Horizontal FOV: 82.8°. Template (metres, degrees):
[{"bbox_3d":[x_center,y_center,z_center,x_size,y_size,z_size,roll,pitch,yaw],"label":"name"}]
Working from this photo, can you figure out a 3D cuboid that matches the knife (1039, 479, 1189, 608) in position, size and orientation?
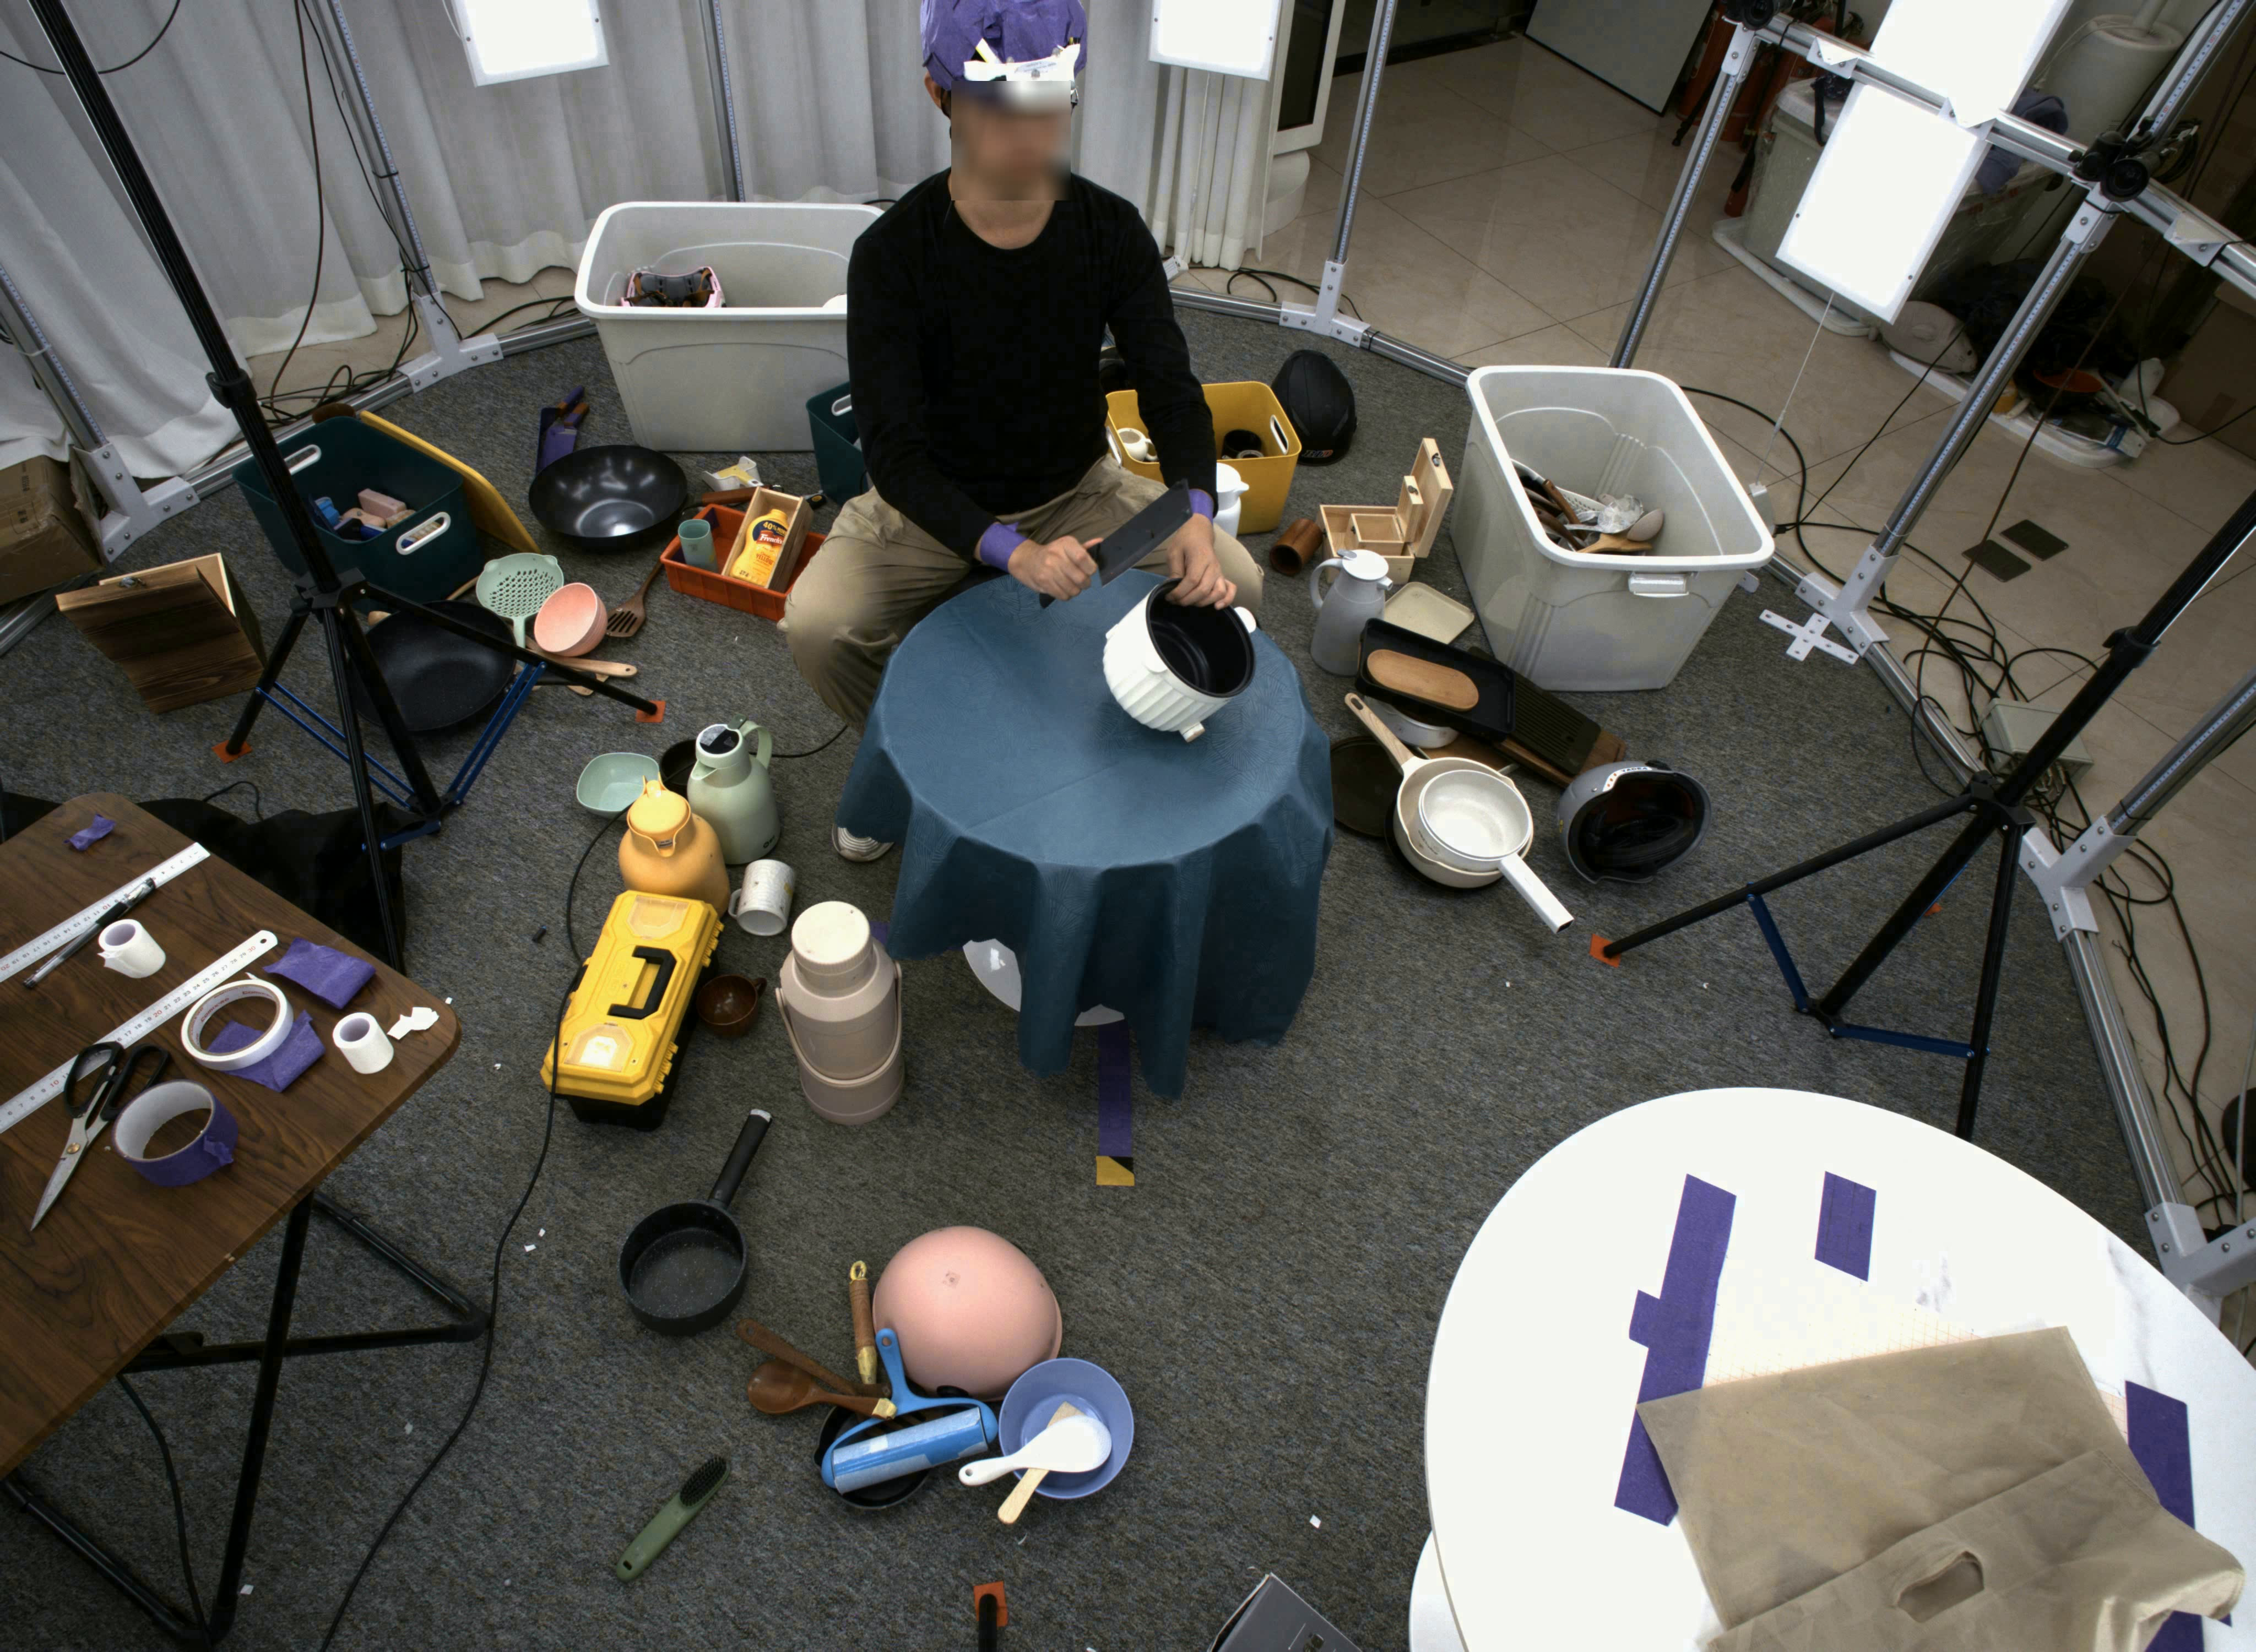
[{"bbox_3d":[-0.023,-0.365,1.729,0.020,0.300,0.082,13,65,-39],"label":"knife"}]

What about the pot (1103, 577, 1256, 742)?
[{"bbox_3d":[0.065,-0.221,1.748,0.242,0.141,0.191,-29,81,-42],"label":"pot"}]
